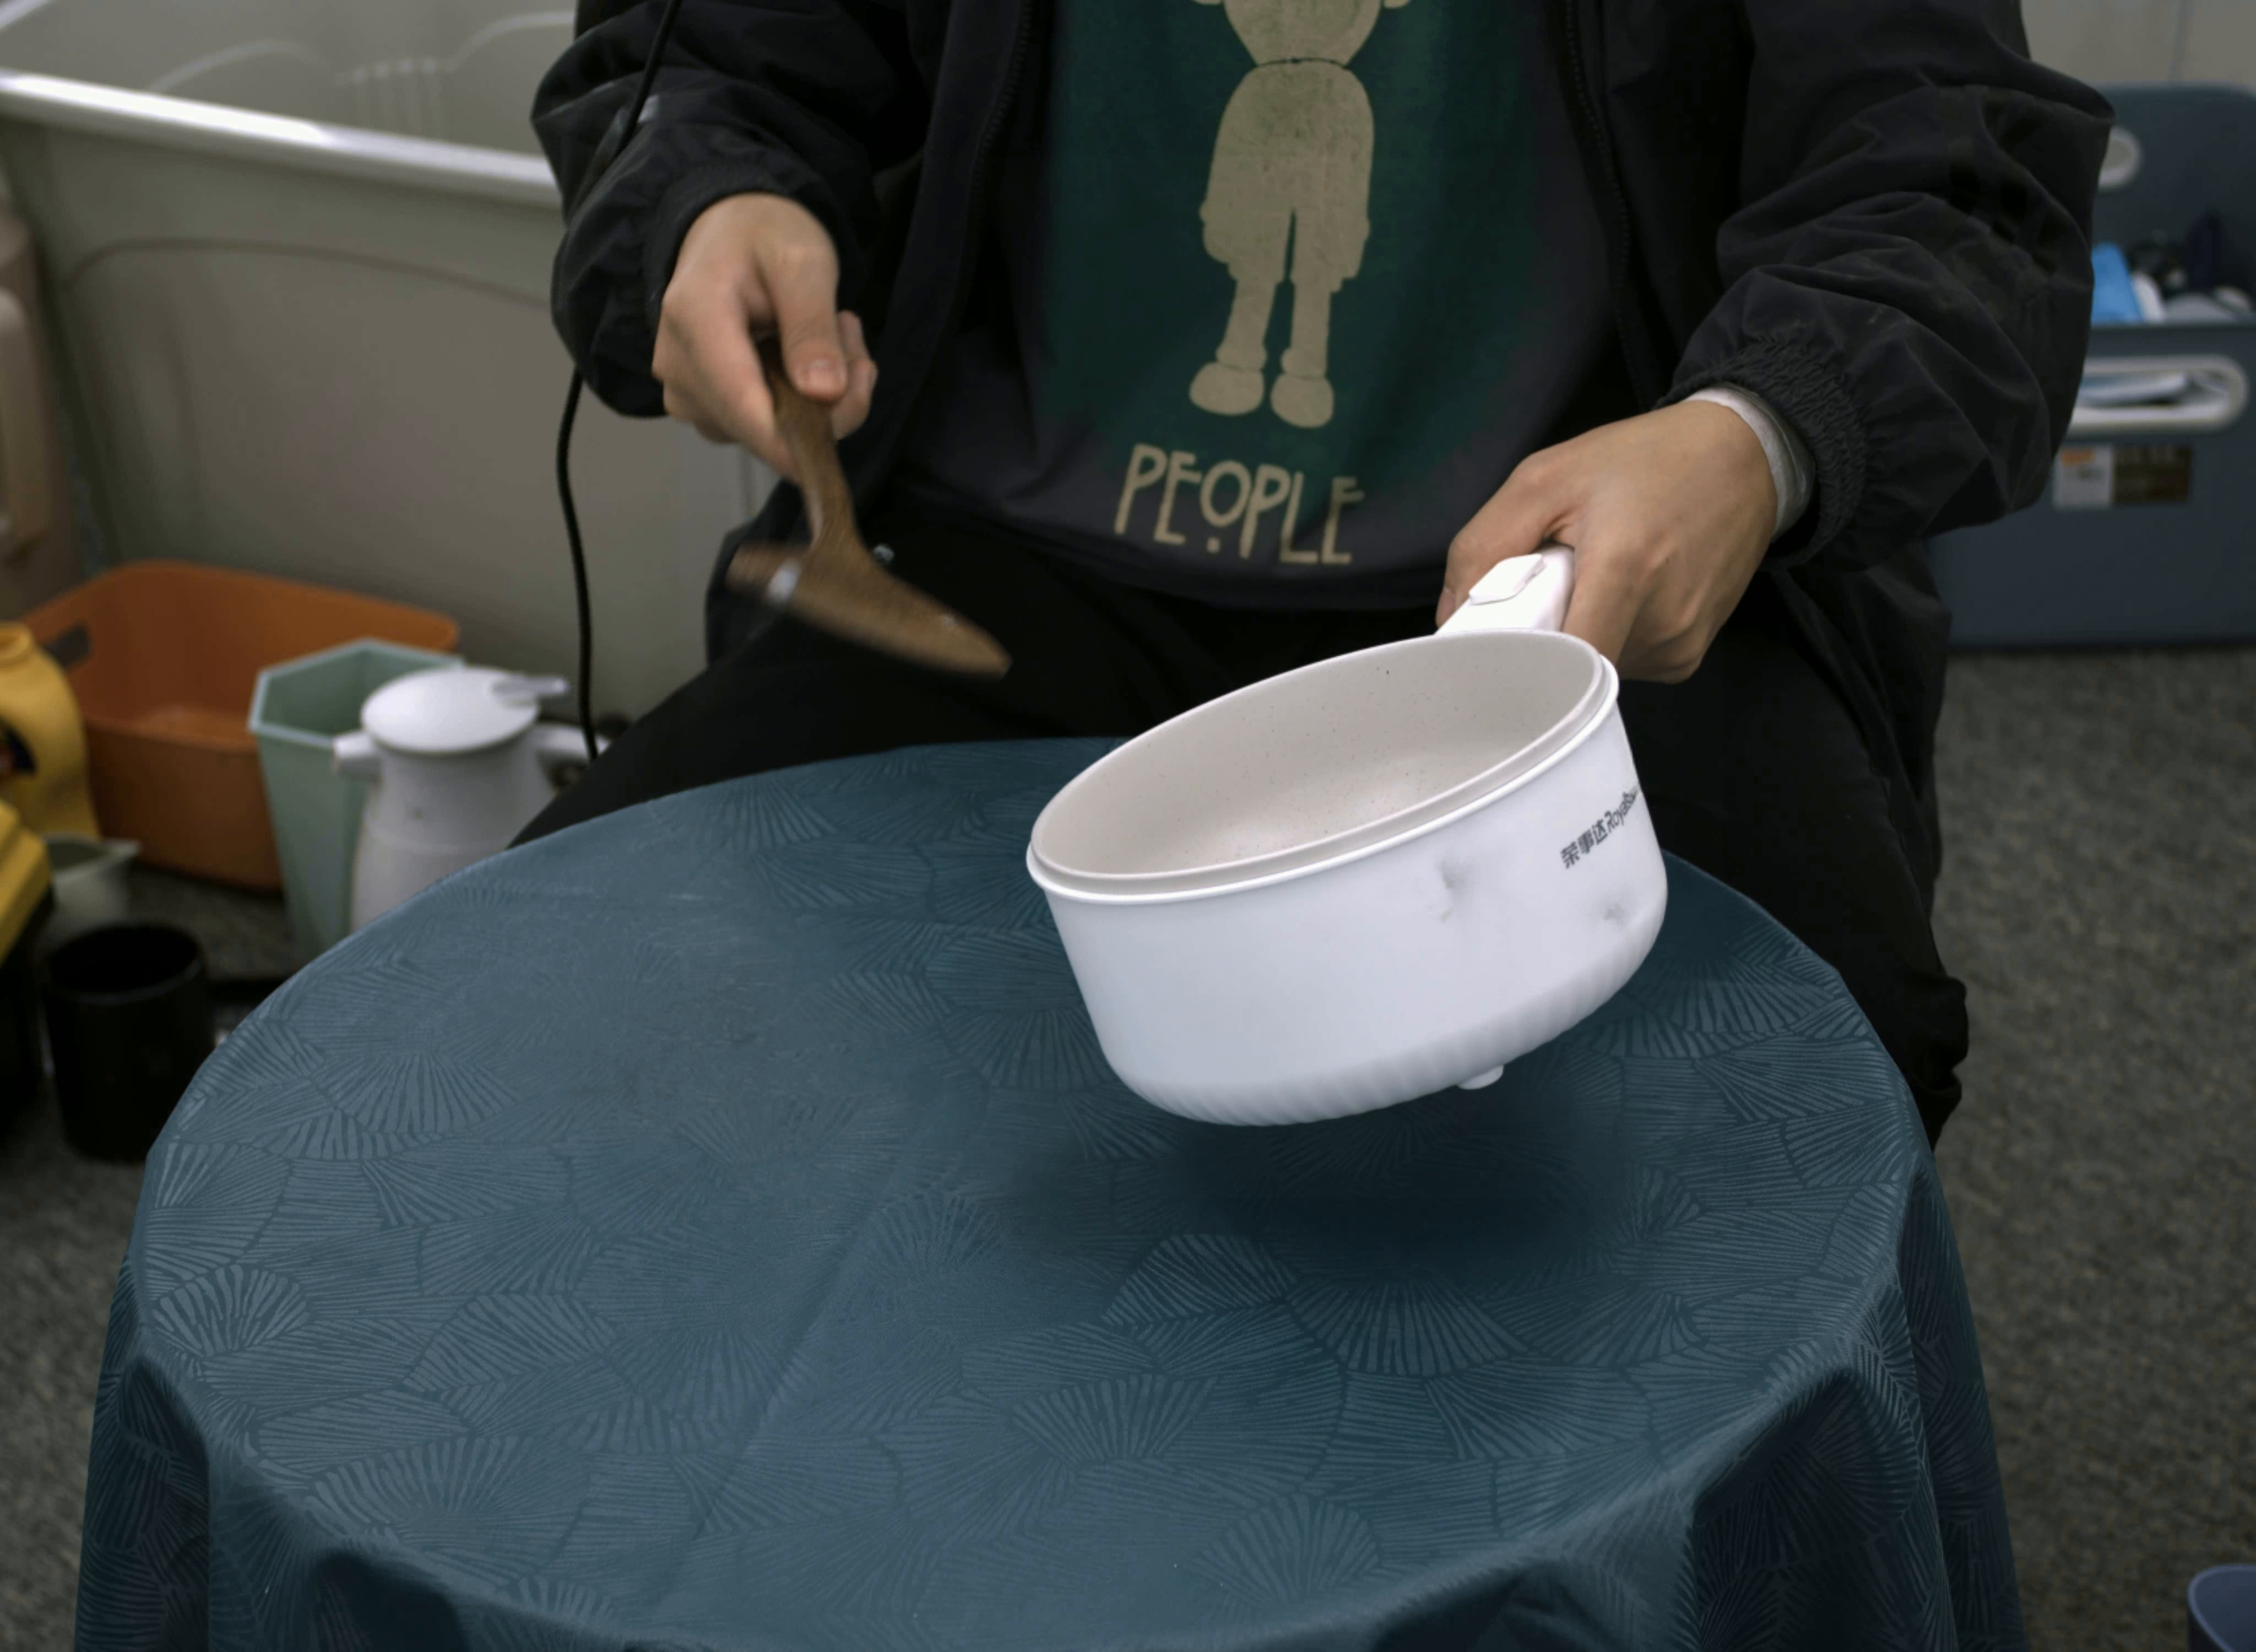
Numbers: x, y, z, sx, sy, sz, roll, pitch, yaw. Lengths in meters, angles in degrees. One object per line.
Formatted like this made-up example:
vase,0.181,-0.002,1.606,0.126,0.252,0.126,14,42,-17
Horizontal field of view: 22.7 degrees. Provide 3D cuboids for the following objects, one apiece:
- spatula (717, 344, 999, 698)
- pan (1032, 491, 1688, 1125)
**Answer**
spatula,-0.110,-0.115,1.984,0.096,0.015,0.390,16,17,-14
pan,0.111,-0.008,1.893,0.199,0.102,0.360,-9,17,31
